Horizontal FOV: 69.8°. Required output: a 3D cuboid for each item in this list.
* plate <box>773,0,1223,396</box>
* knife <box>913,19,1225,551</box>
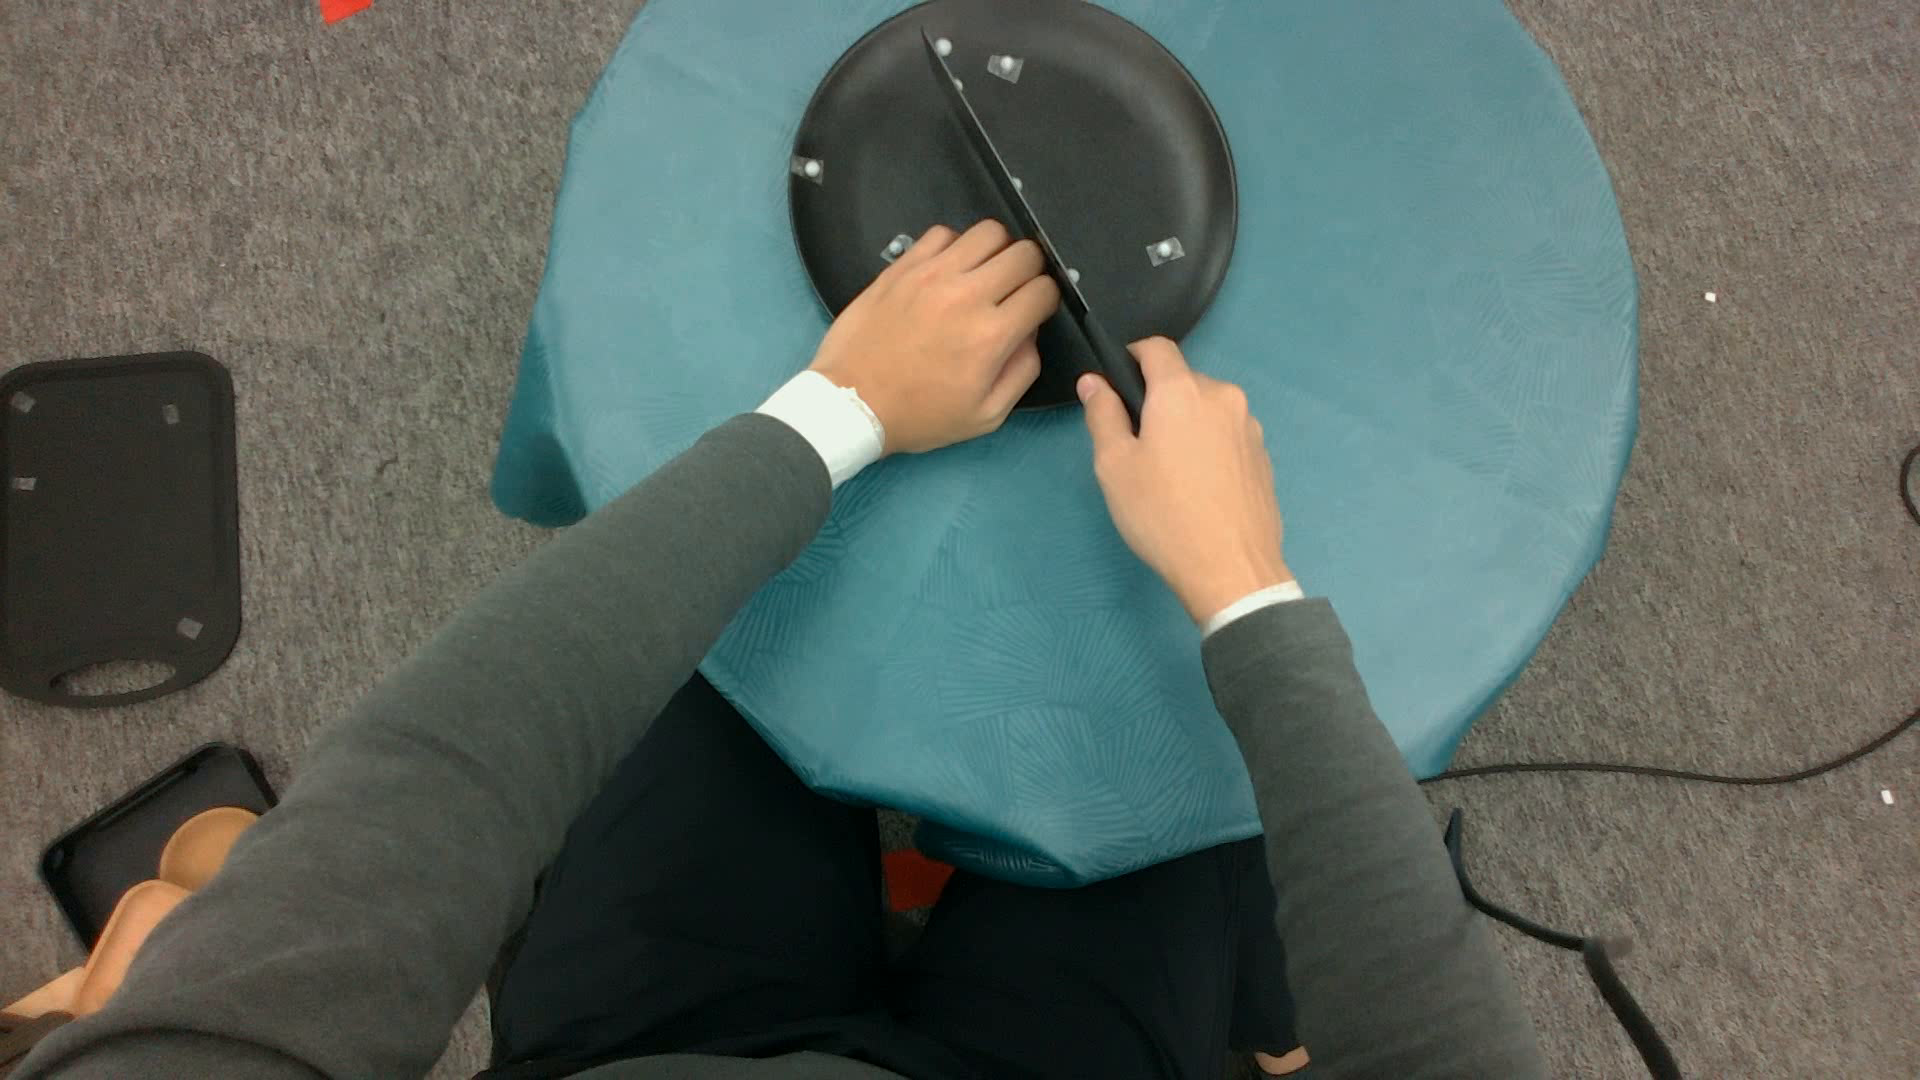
[{"bbox_3d":[0.021,-0.192,0.748,0.244,0.023,0.245,1,78,-4],"label":"plate"},{"bbox_3d":[0.049,-0.128,0.688,0.021,0.081,0.302,-29,77,2],"label":"knife"}]
